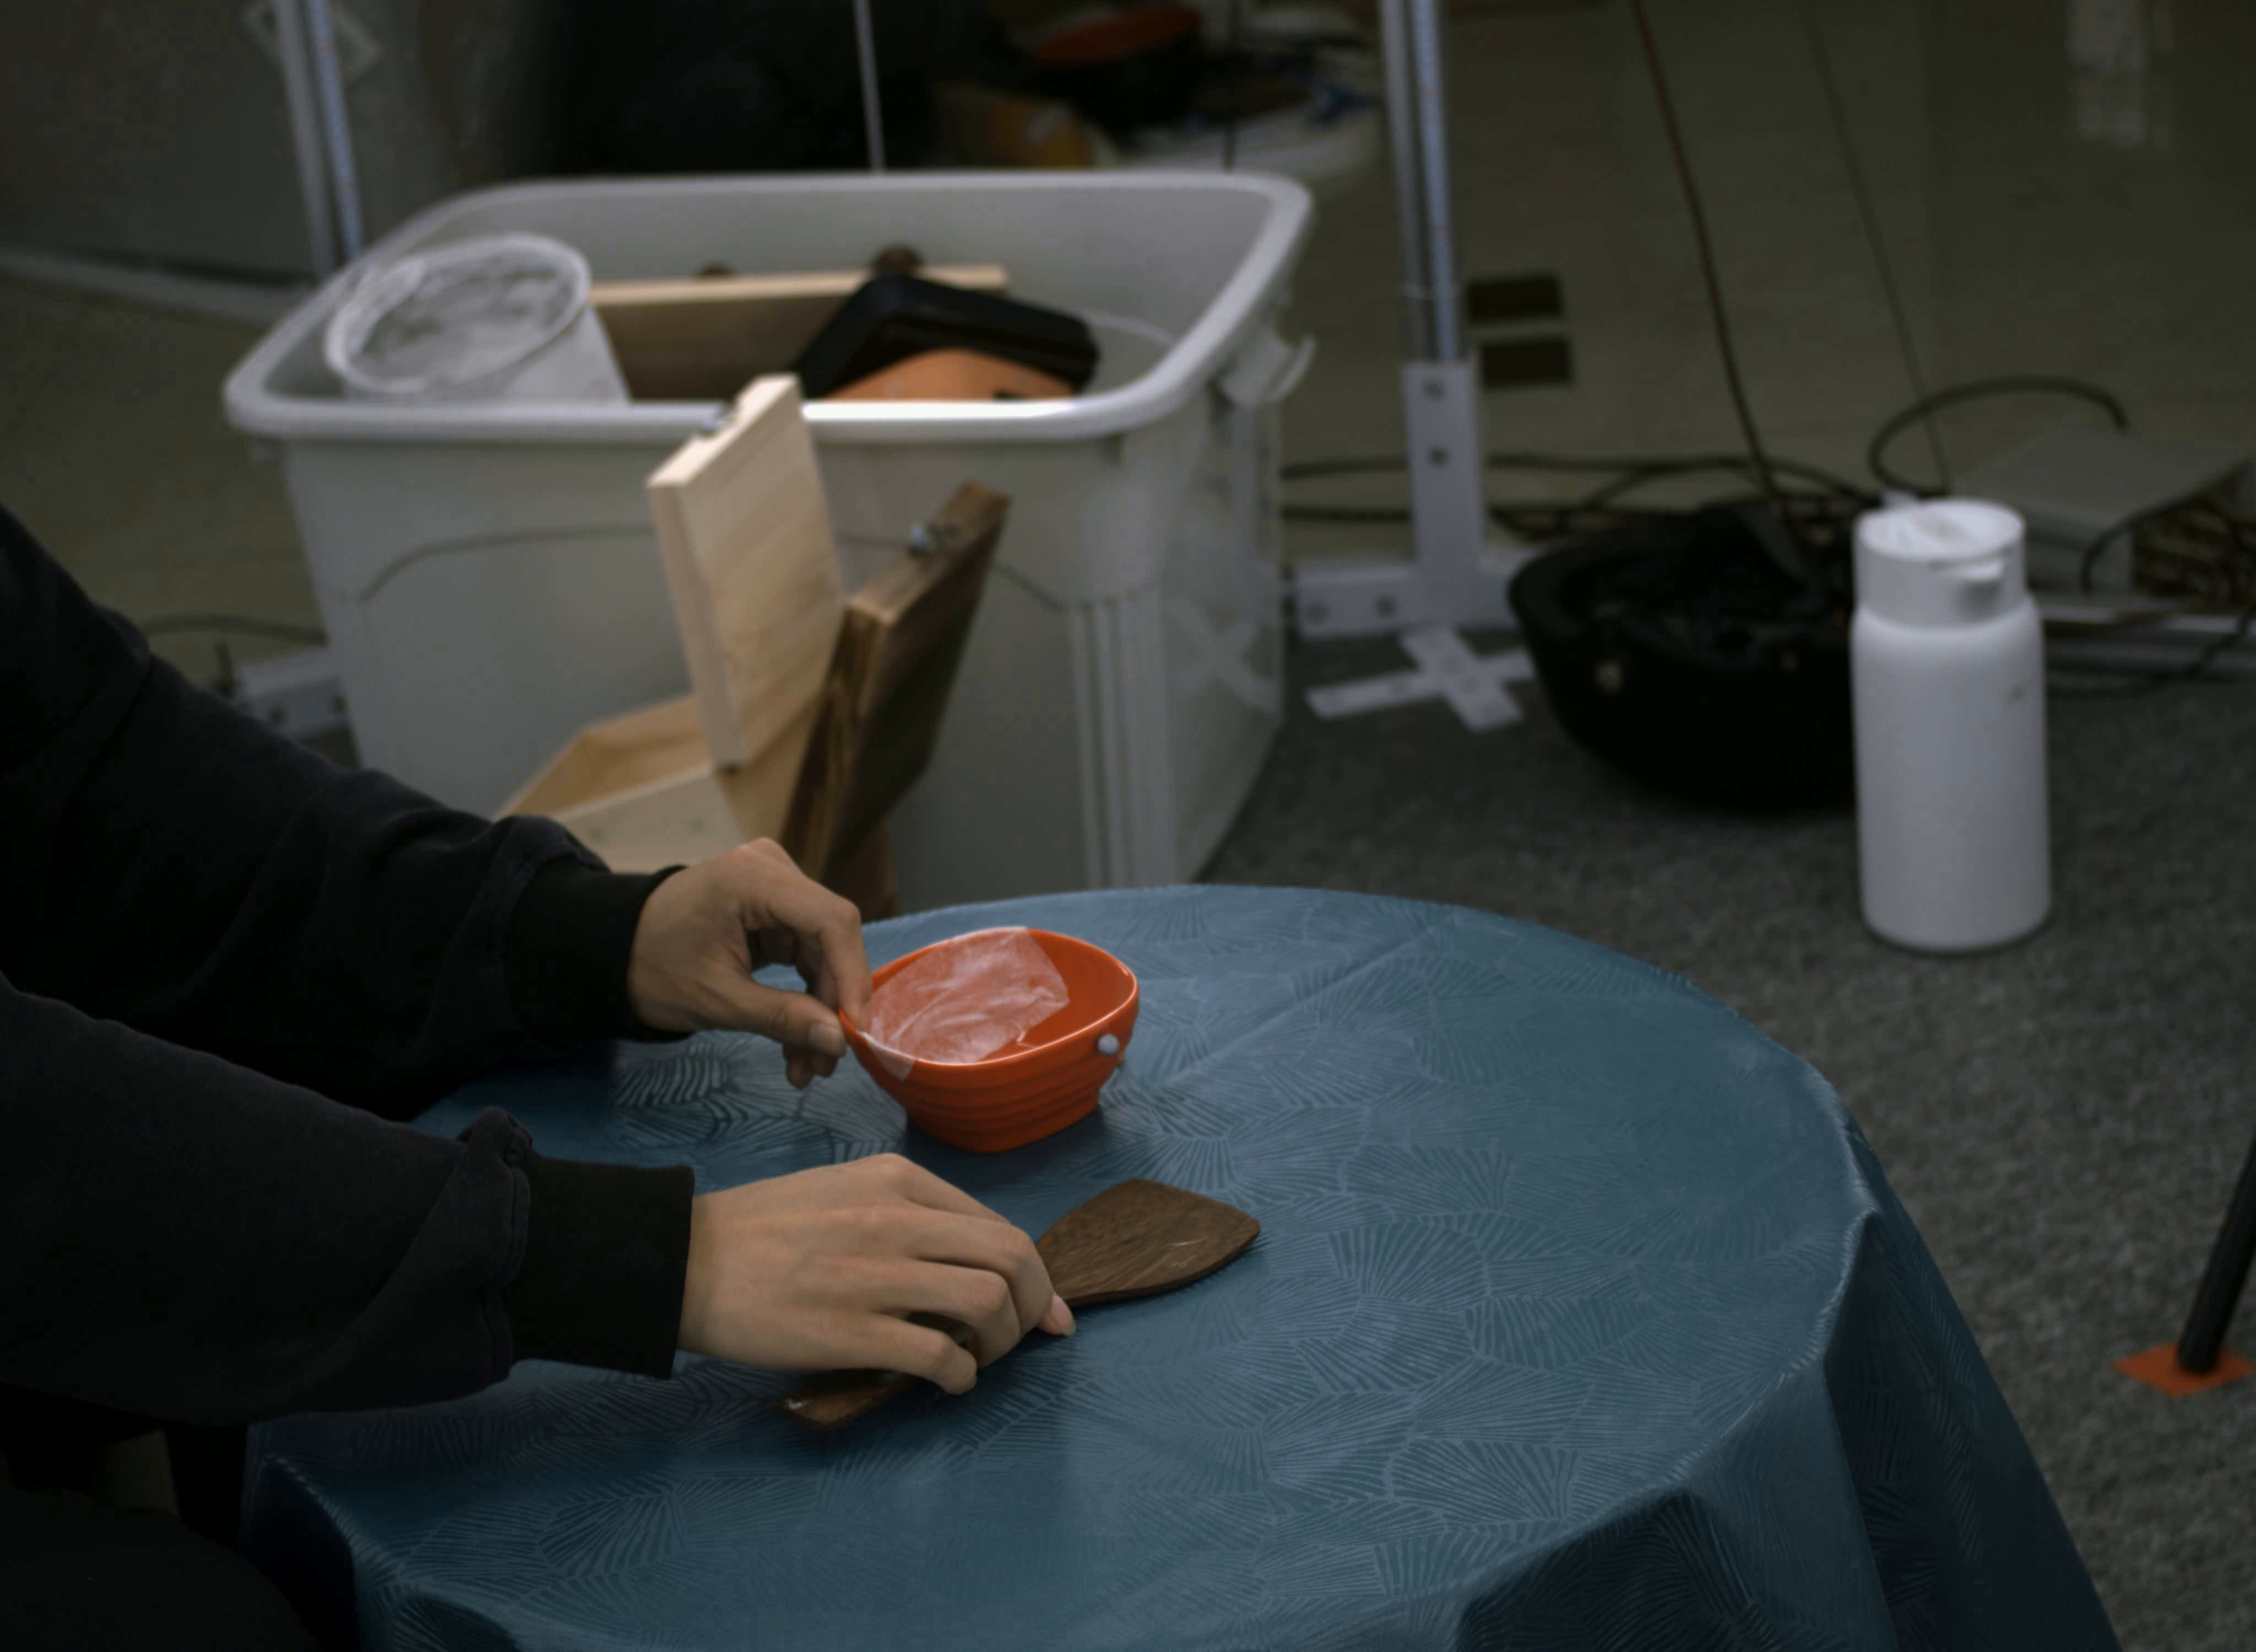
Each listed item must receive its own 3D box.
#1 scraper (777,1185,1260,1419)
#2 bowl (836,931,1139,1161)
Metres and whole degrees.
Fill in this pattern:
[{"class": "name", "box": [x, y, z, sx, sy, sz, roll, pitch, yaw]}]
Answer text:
[{"class": "scraper", "box": [-0.044, 0.175, 2.062, 0.075, 0.011, 0.210, 17, 28, 42]}, {"class": "bowl", "box": [-0.053, 0.090, 2.214, 0.119, 0.052, 0.117, -5, 27, 3]}]
